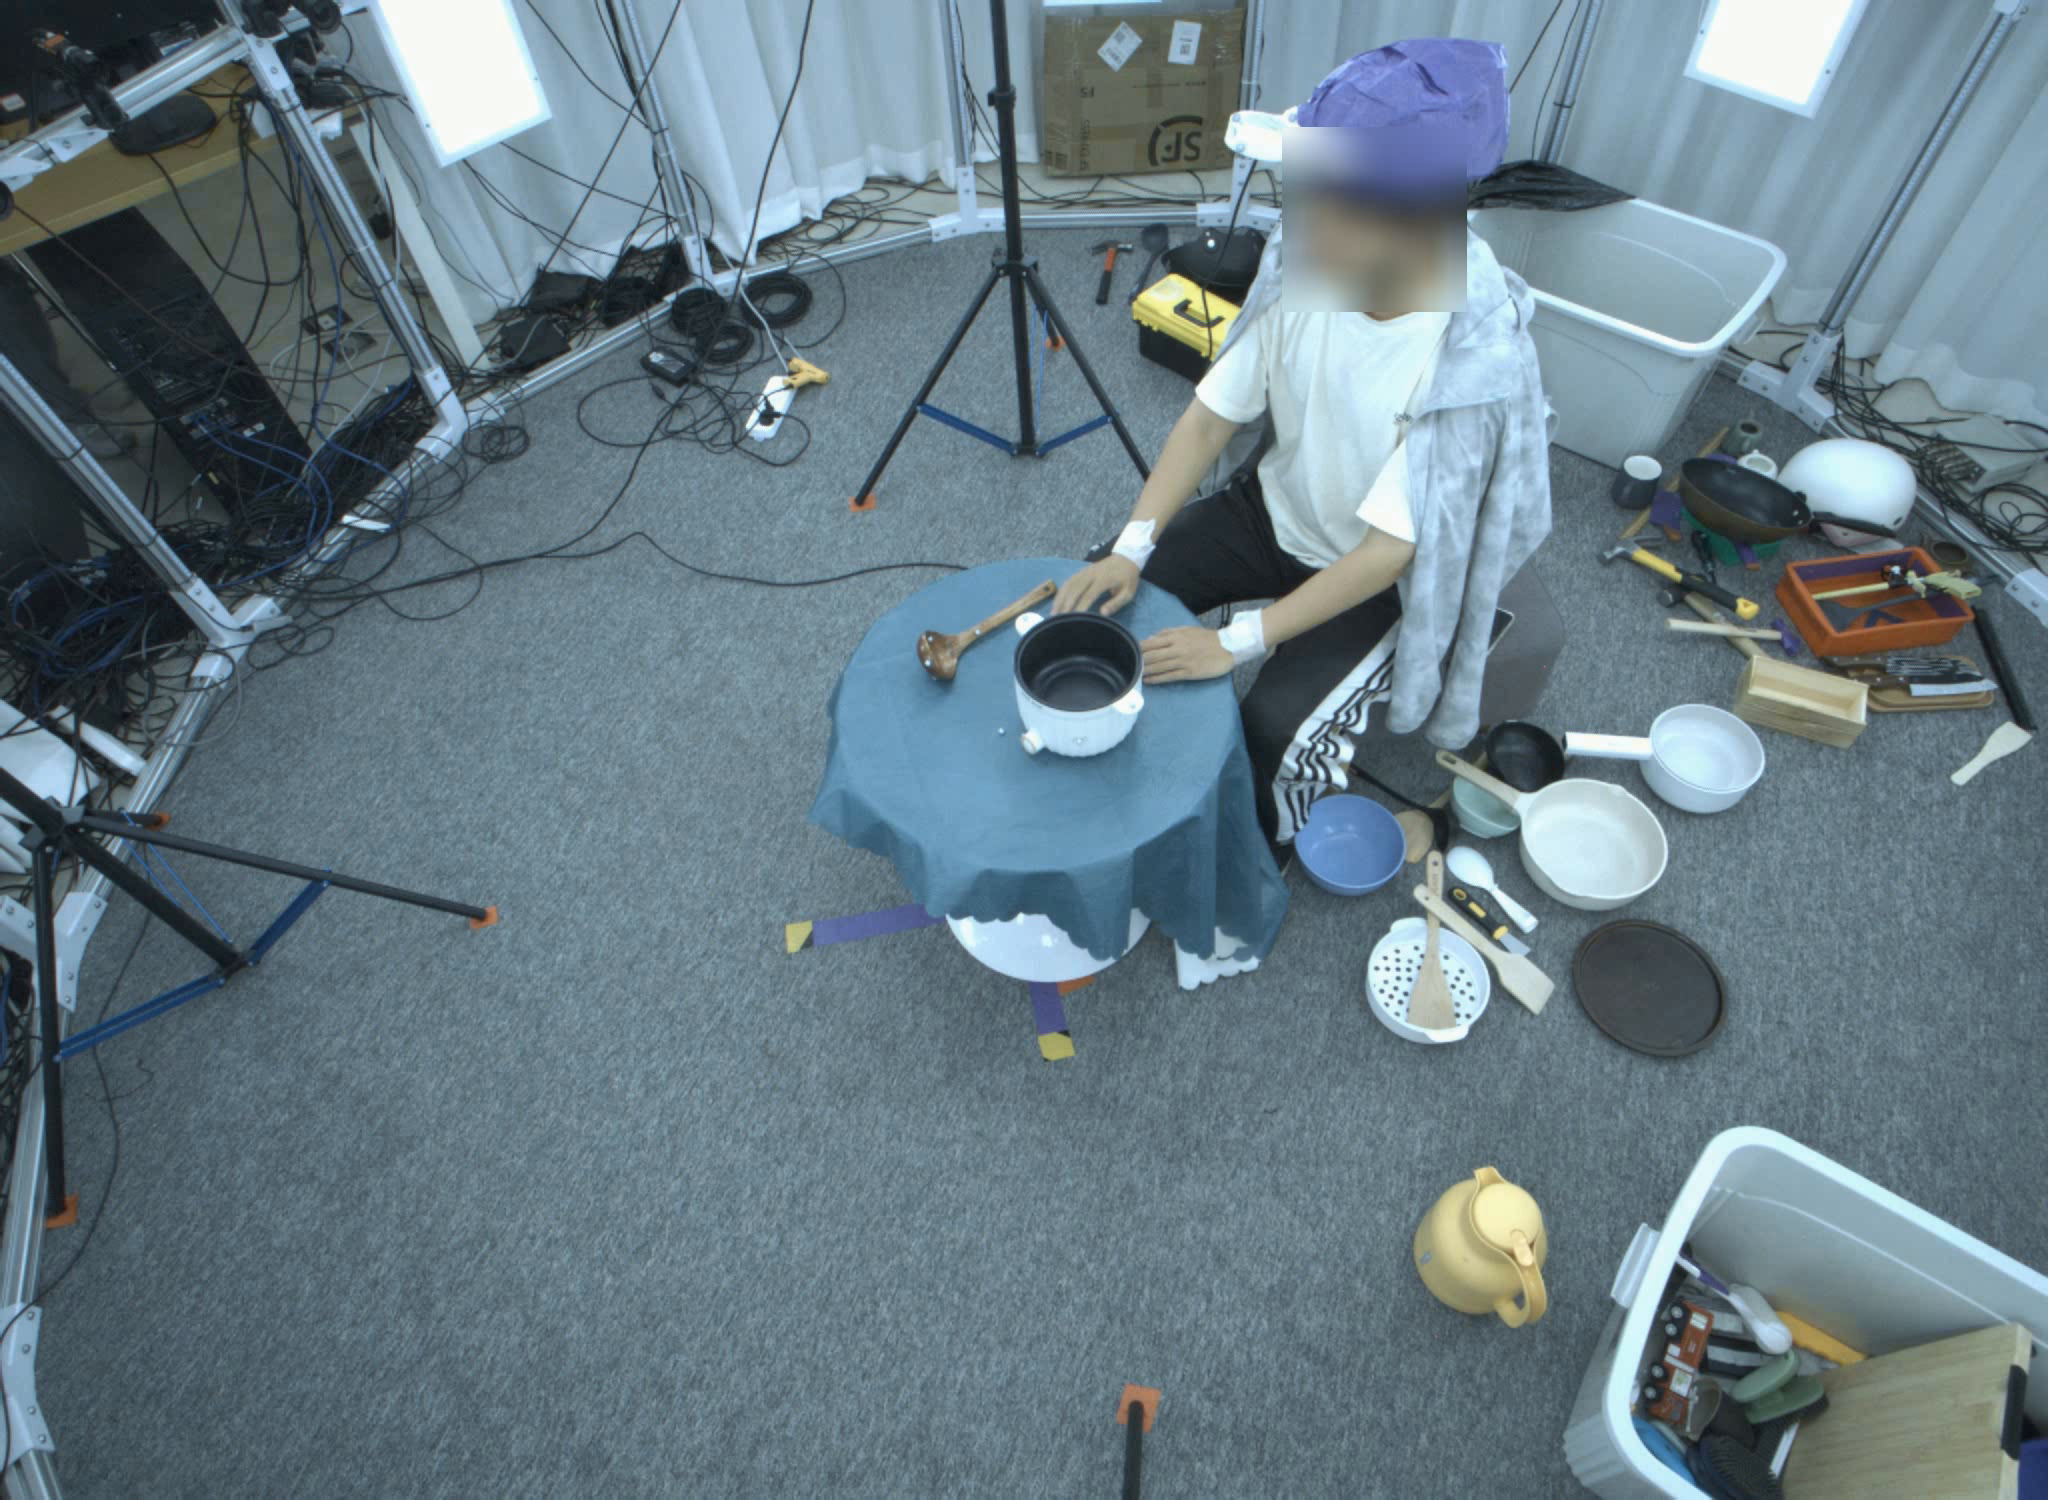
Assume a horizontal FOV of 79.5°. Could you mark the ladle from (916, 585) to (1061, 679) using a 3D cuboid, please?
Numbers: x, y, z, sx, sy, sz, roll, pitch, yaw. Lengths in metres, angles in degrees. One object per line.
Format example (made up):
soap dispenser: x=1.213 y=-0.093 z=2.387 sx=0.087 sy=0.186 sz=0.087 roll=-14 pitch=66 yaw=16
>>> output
ladle: x=-0.048 y=-0.195 z=1.889 sx=0.276 sy=0.075 sz=0.082 roll=-30 pitch=104 yaw=-20

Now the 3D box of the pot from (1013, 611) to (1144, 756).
pot: x=0.074 y=-0.084 z=1.760 sx=0.192 sy=0.144 sz=0.236 roll=-36 pitch=60 yaw=-25
